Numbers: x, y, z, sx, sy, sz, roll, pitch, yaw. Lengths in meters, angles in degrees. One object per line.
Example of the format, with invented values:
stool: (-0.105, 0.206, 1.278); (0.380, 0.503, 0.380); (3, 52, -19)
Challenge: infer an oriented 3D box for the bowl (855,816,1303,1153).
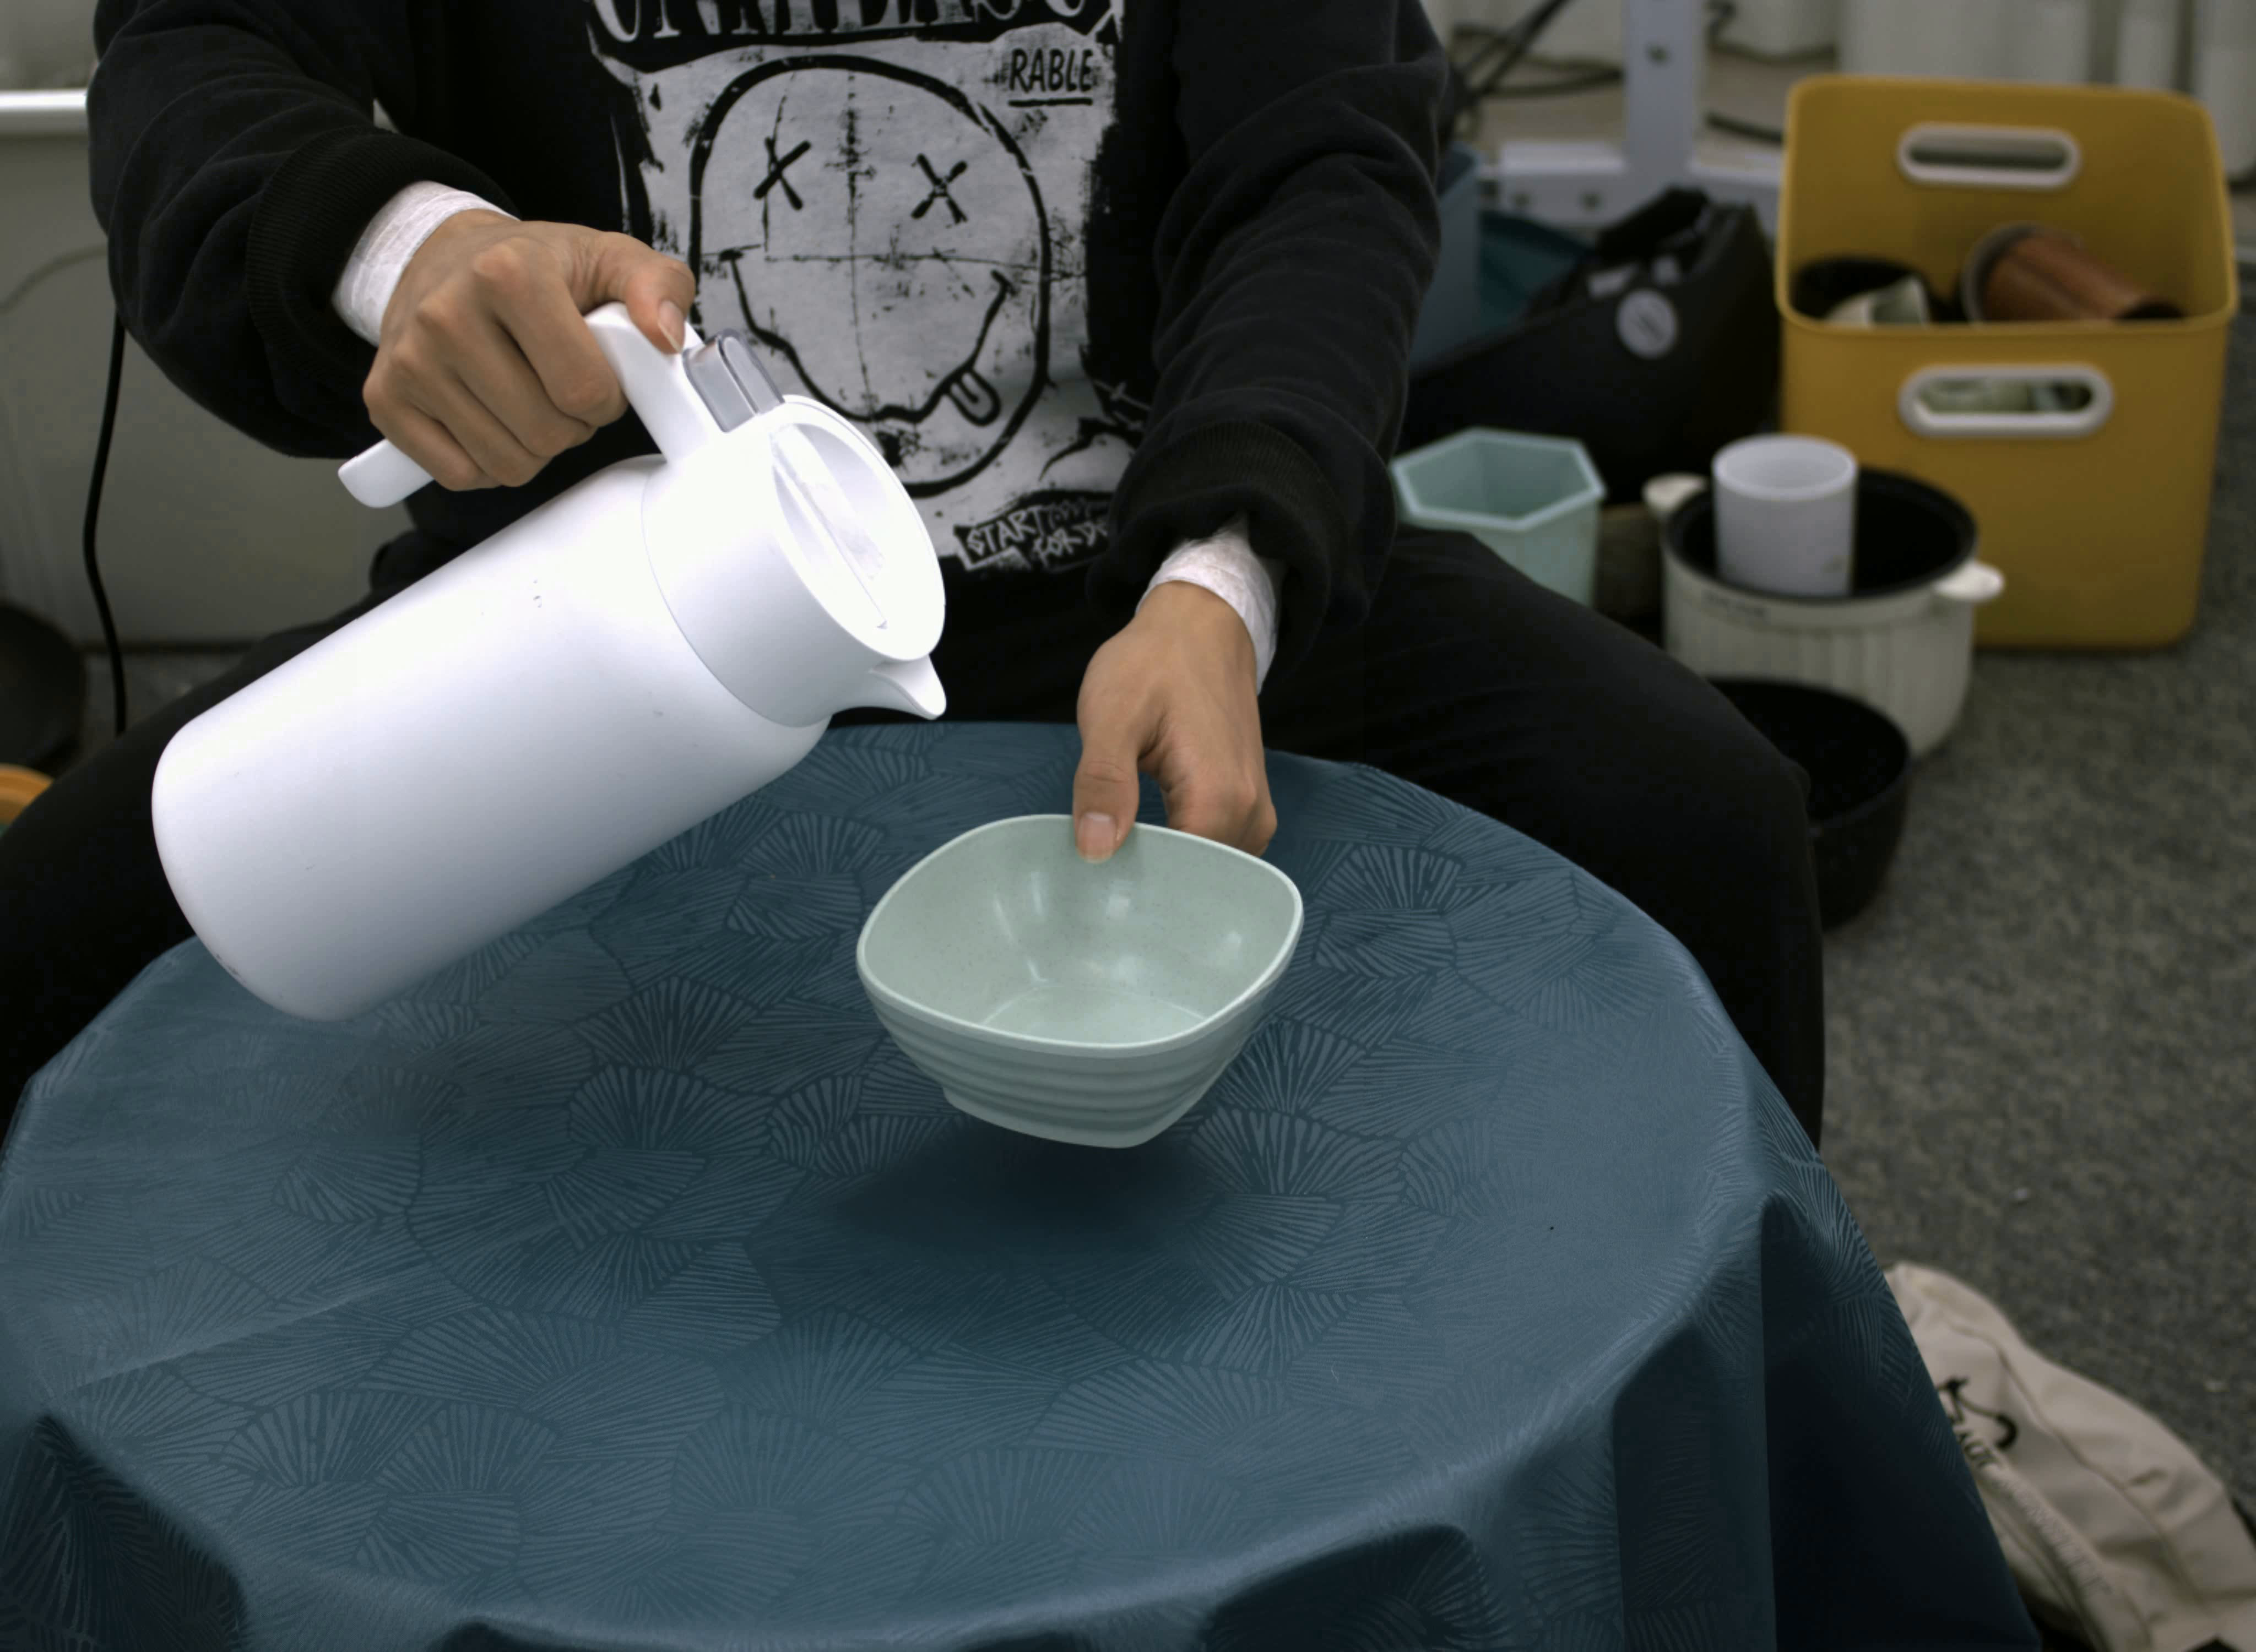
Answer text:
bowl: (-0.015, 0.058, 1.854); (0.151, 0.058, 0.154); (0, 30, 0)

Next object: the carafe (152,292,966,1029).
carafe: (-0.202, -0.053, 1.862); (0.265, 0.172, 0.125); (-30, 9, 26)
